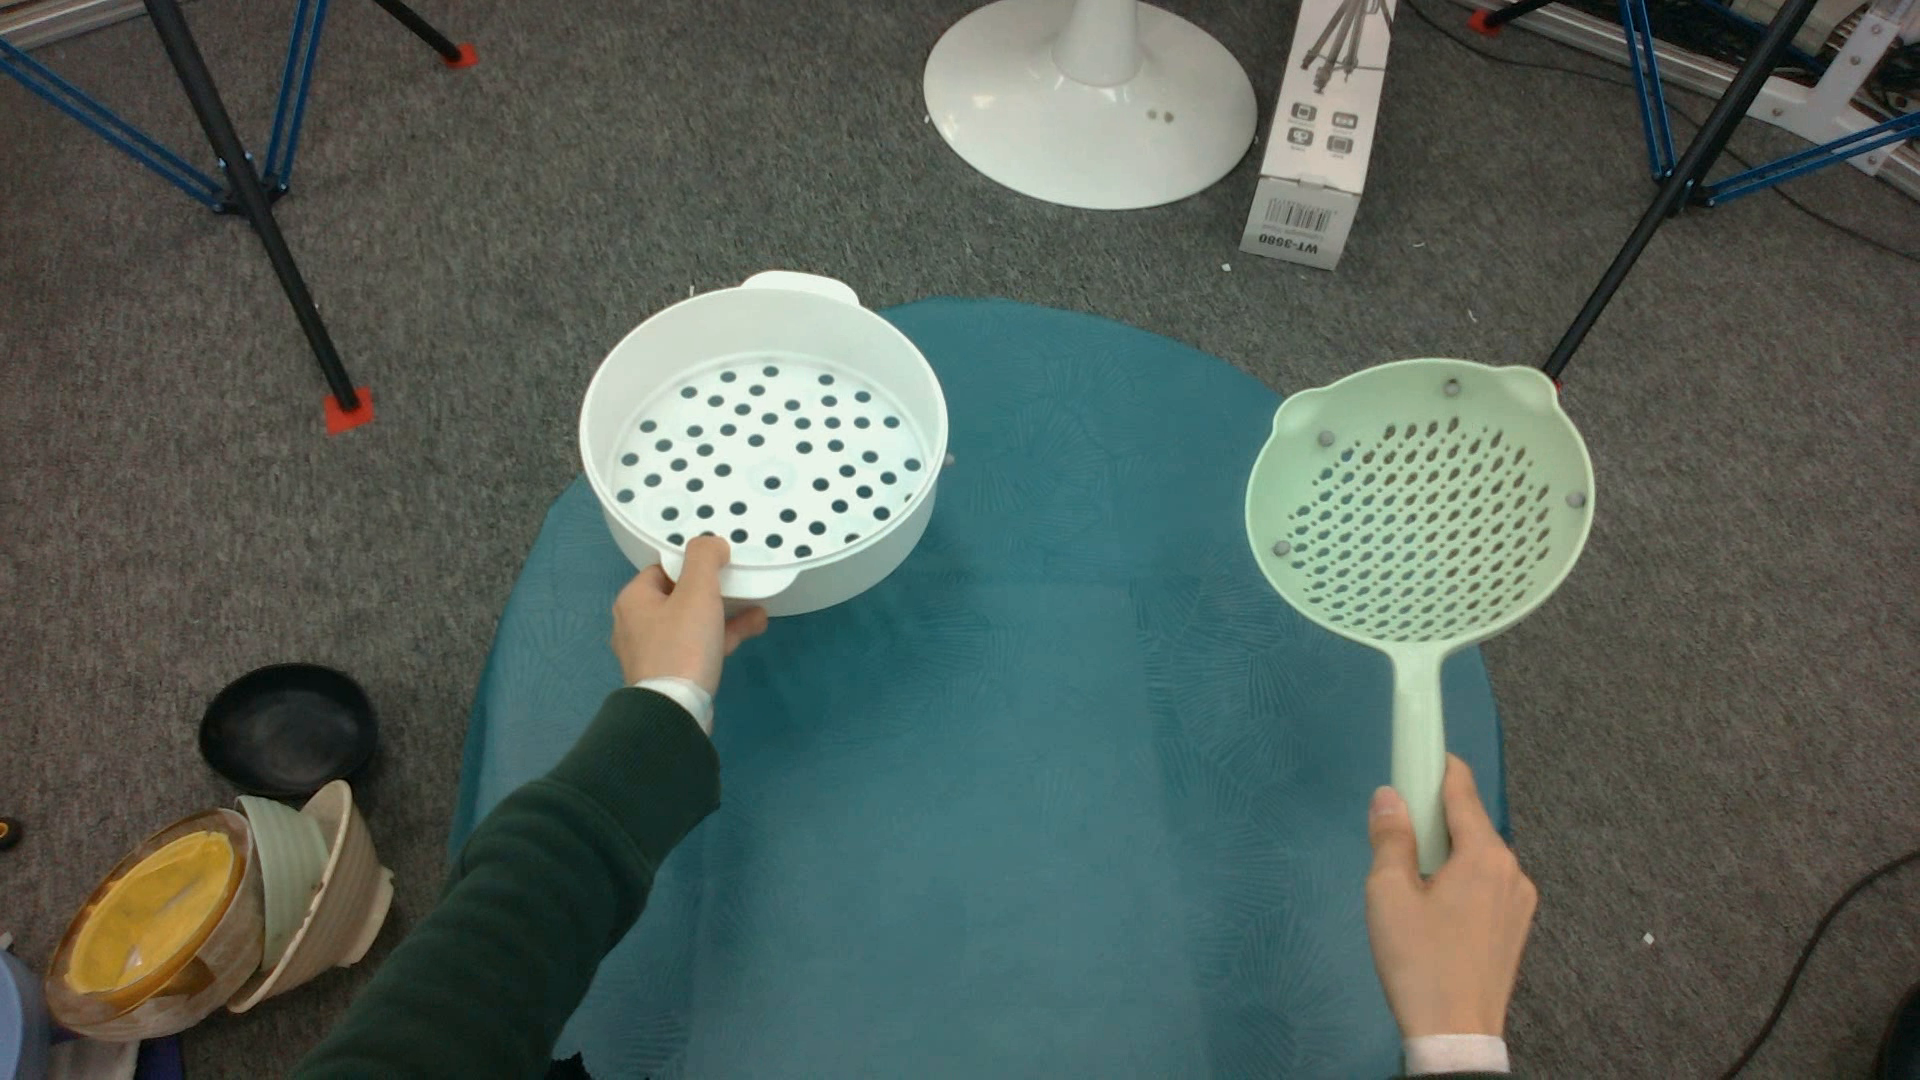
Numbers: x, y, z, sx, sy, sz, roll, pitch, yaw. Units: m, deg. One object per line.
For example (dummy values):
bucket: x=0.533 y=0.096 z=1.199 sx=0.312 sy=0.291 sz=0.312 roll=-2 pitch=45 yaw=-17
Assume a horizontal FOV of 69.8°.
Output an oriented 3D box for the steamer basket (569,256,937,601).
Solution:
steamer basket: x=-0.115 y=-0.060 z=0.787 sx=0.202 sy=0.069 sz=0.231 roll=7 pitch=56 yaw=0

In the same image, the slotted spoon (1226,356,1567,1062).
slotted spoon: x=0.212 y=0.063 z=0.677 sx=0.169 sy=0.075 sz=0.360 roll=0 pitch=52 yaw=17
